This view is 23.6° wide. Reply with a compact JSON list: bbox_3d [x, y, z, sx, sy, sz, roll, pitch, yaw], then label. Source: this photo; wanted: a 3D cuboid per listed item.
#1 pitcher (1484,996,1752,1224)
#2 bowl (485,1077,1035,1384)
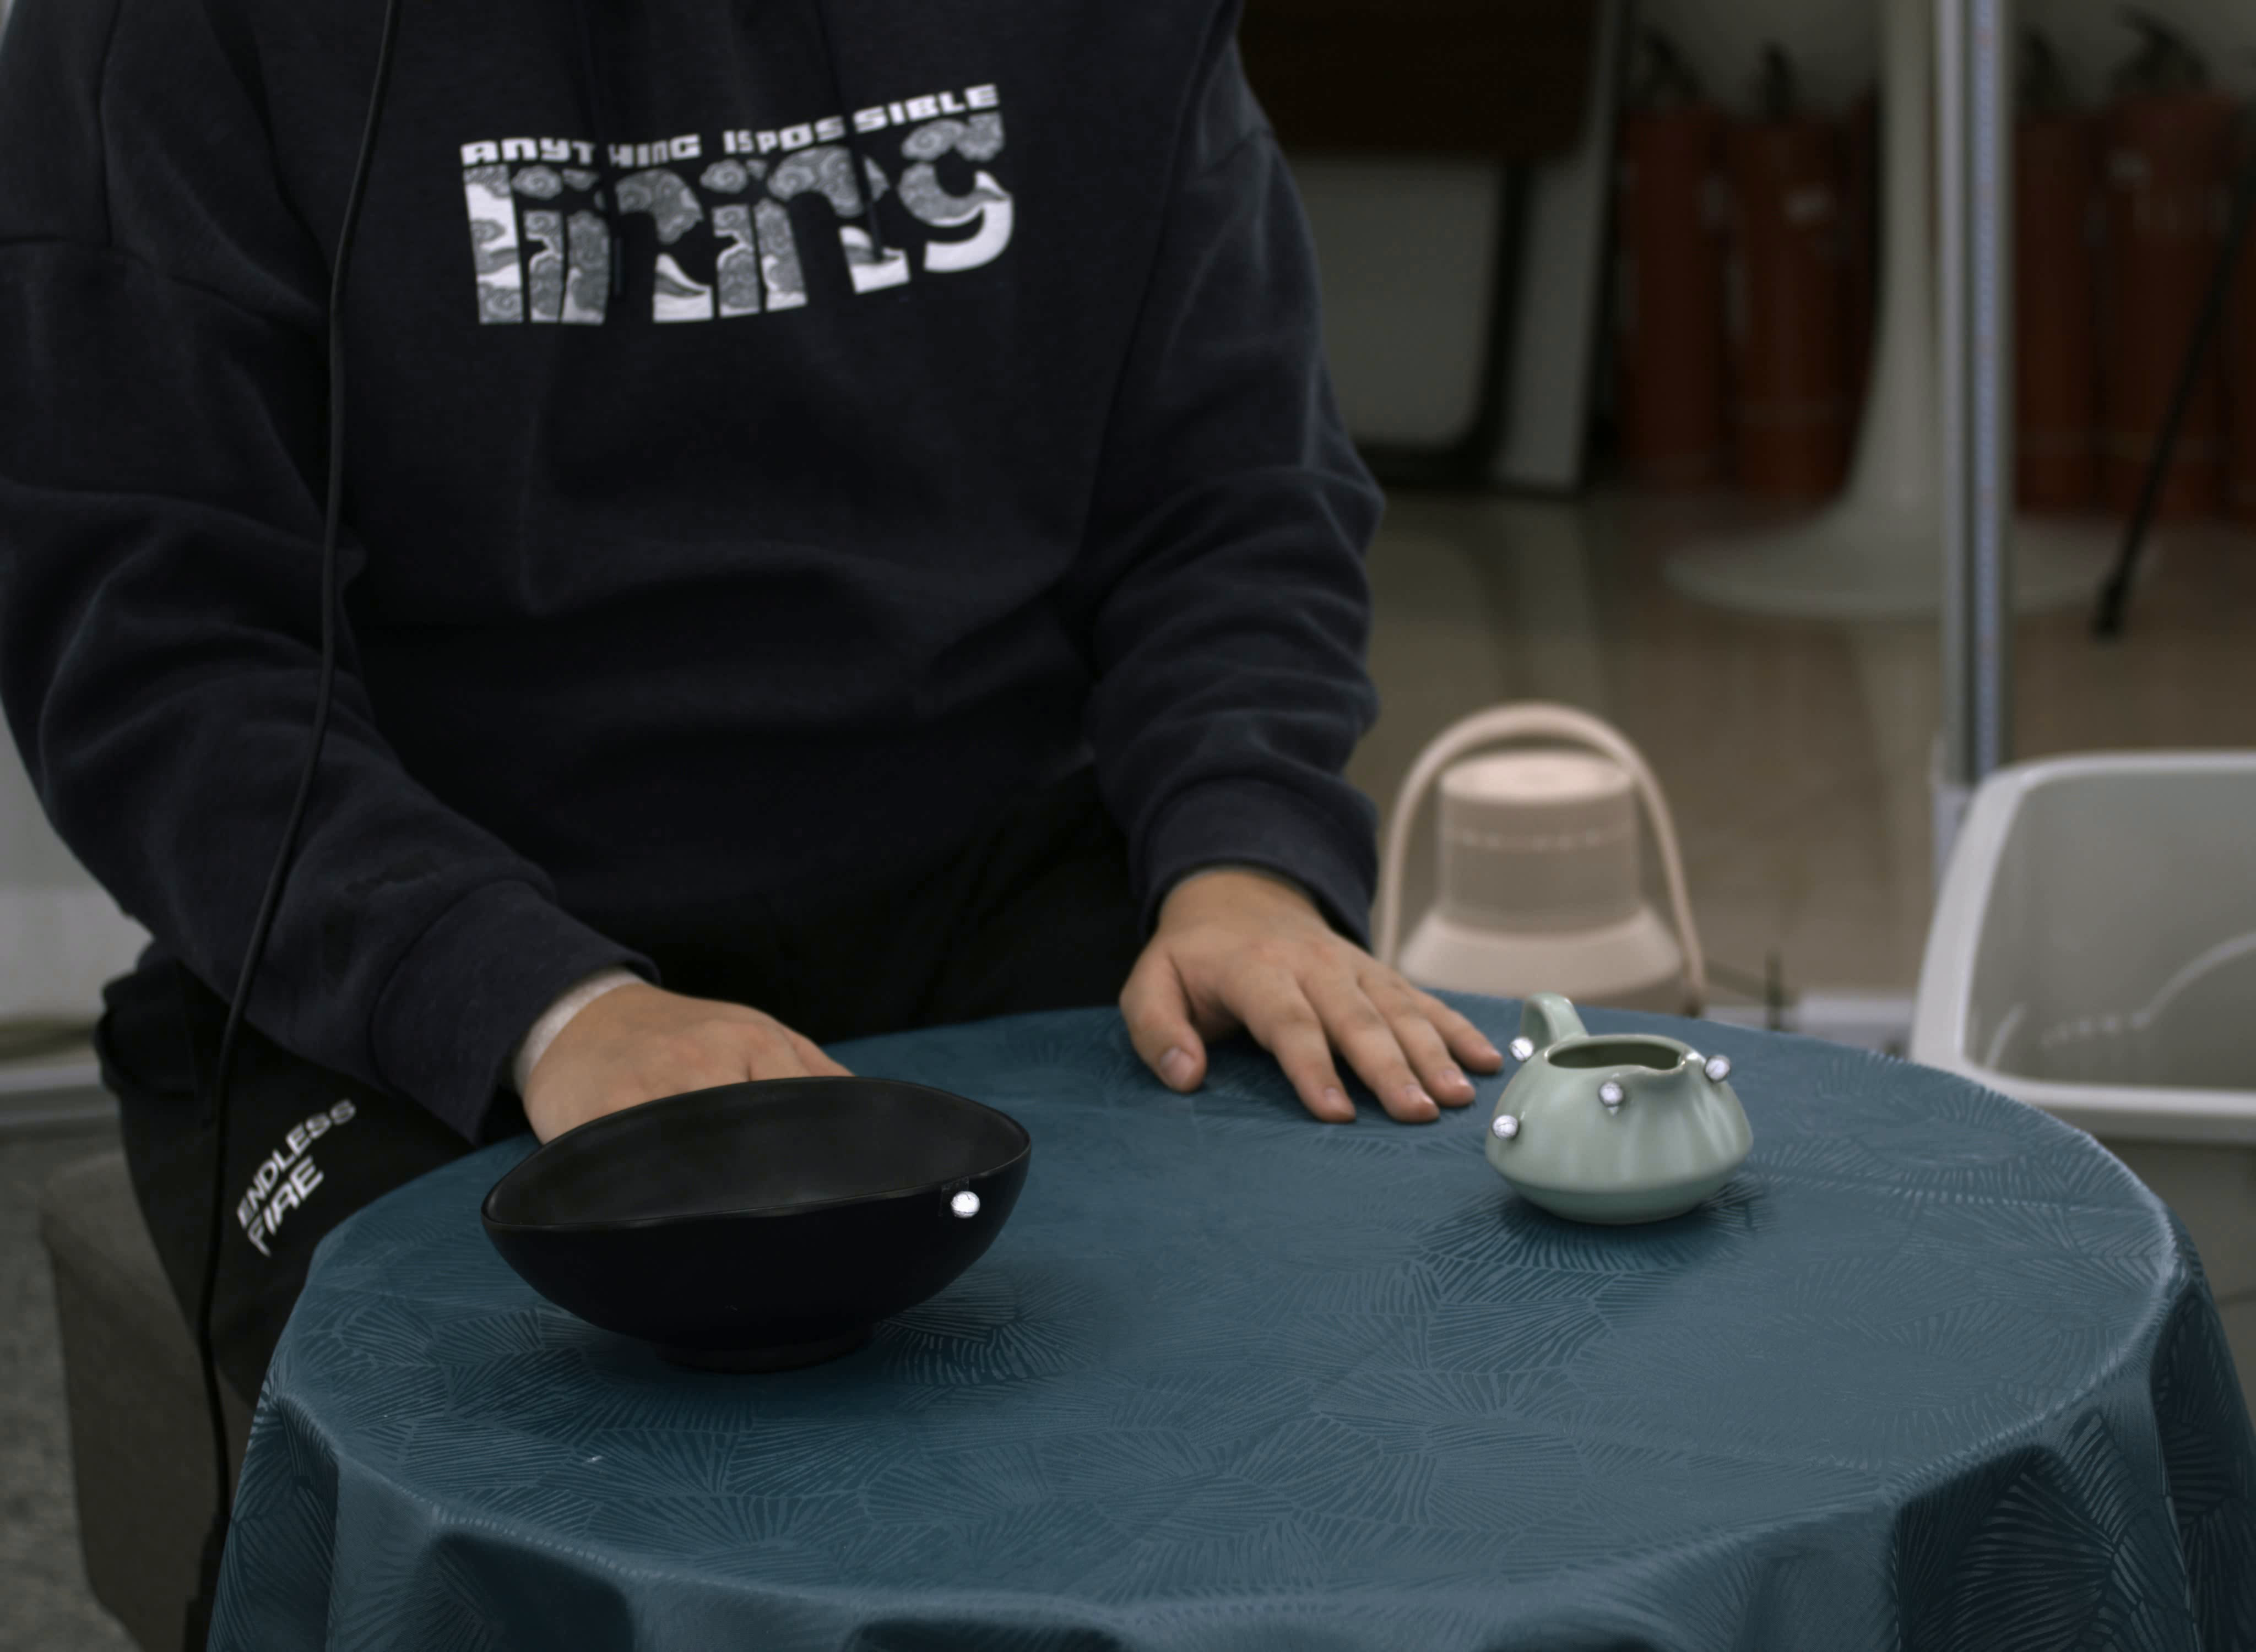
[{"bbox_3d":[0.152,0.092,1.734,0.084,0.061,0.109,-8,12,-21],"label":"pitcher"},{"bbox_3d":[-0.109,0.128,1.645,0.167,0.067,0.138,-6,13,-6],"label":"bowl"}]
